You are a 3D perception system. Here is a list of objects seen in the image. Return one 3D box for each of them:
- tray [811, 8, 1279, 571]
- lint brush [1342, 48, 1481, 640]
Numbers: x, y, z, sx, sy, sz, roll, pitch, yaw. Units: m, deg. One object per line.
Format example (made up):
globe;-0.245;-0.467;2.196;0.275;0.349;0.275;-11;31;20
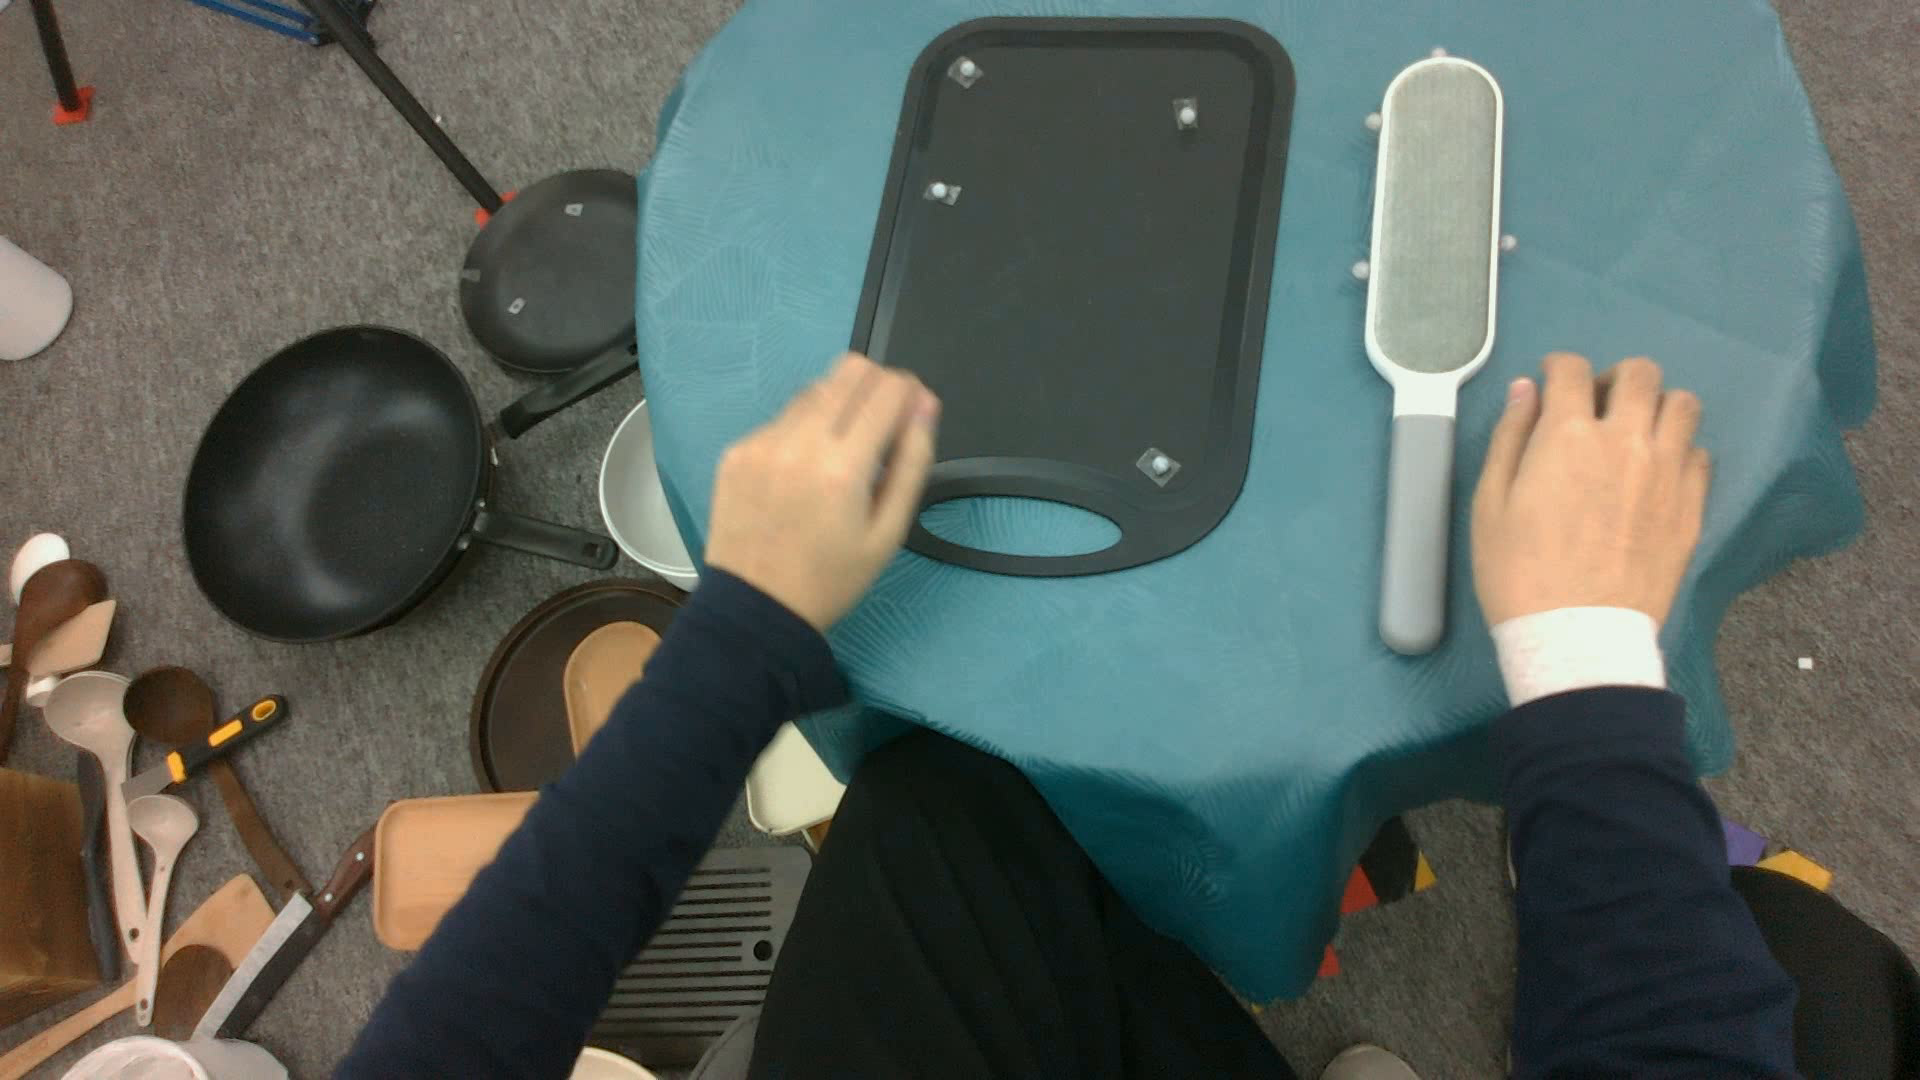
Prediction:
tray;0.044;-0.139;0.702;0.211;0.010;0.326;7;71;13
lint brush;0.209;-0.102;0.647;0.060;0.021;0.310;7;71;7
